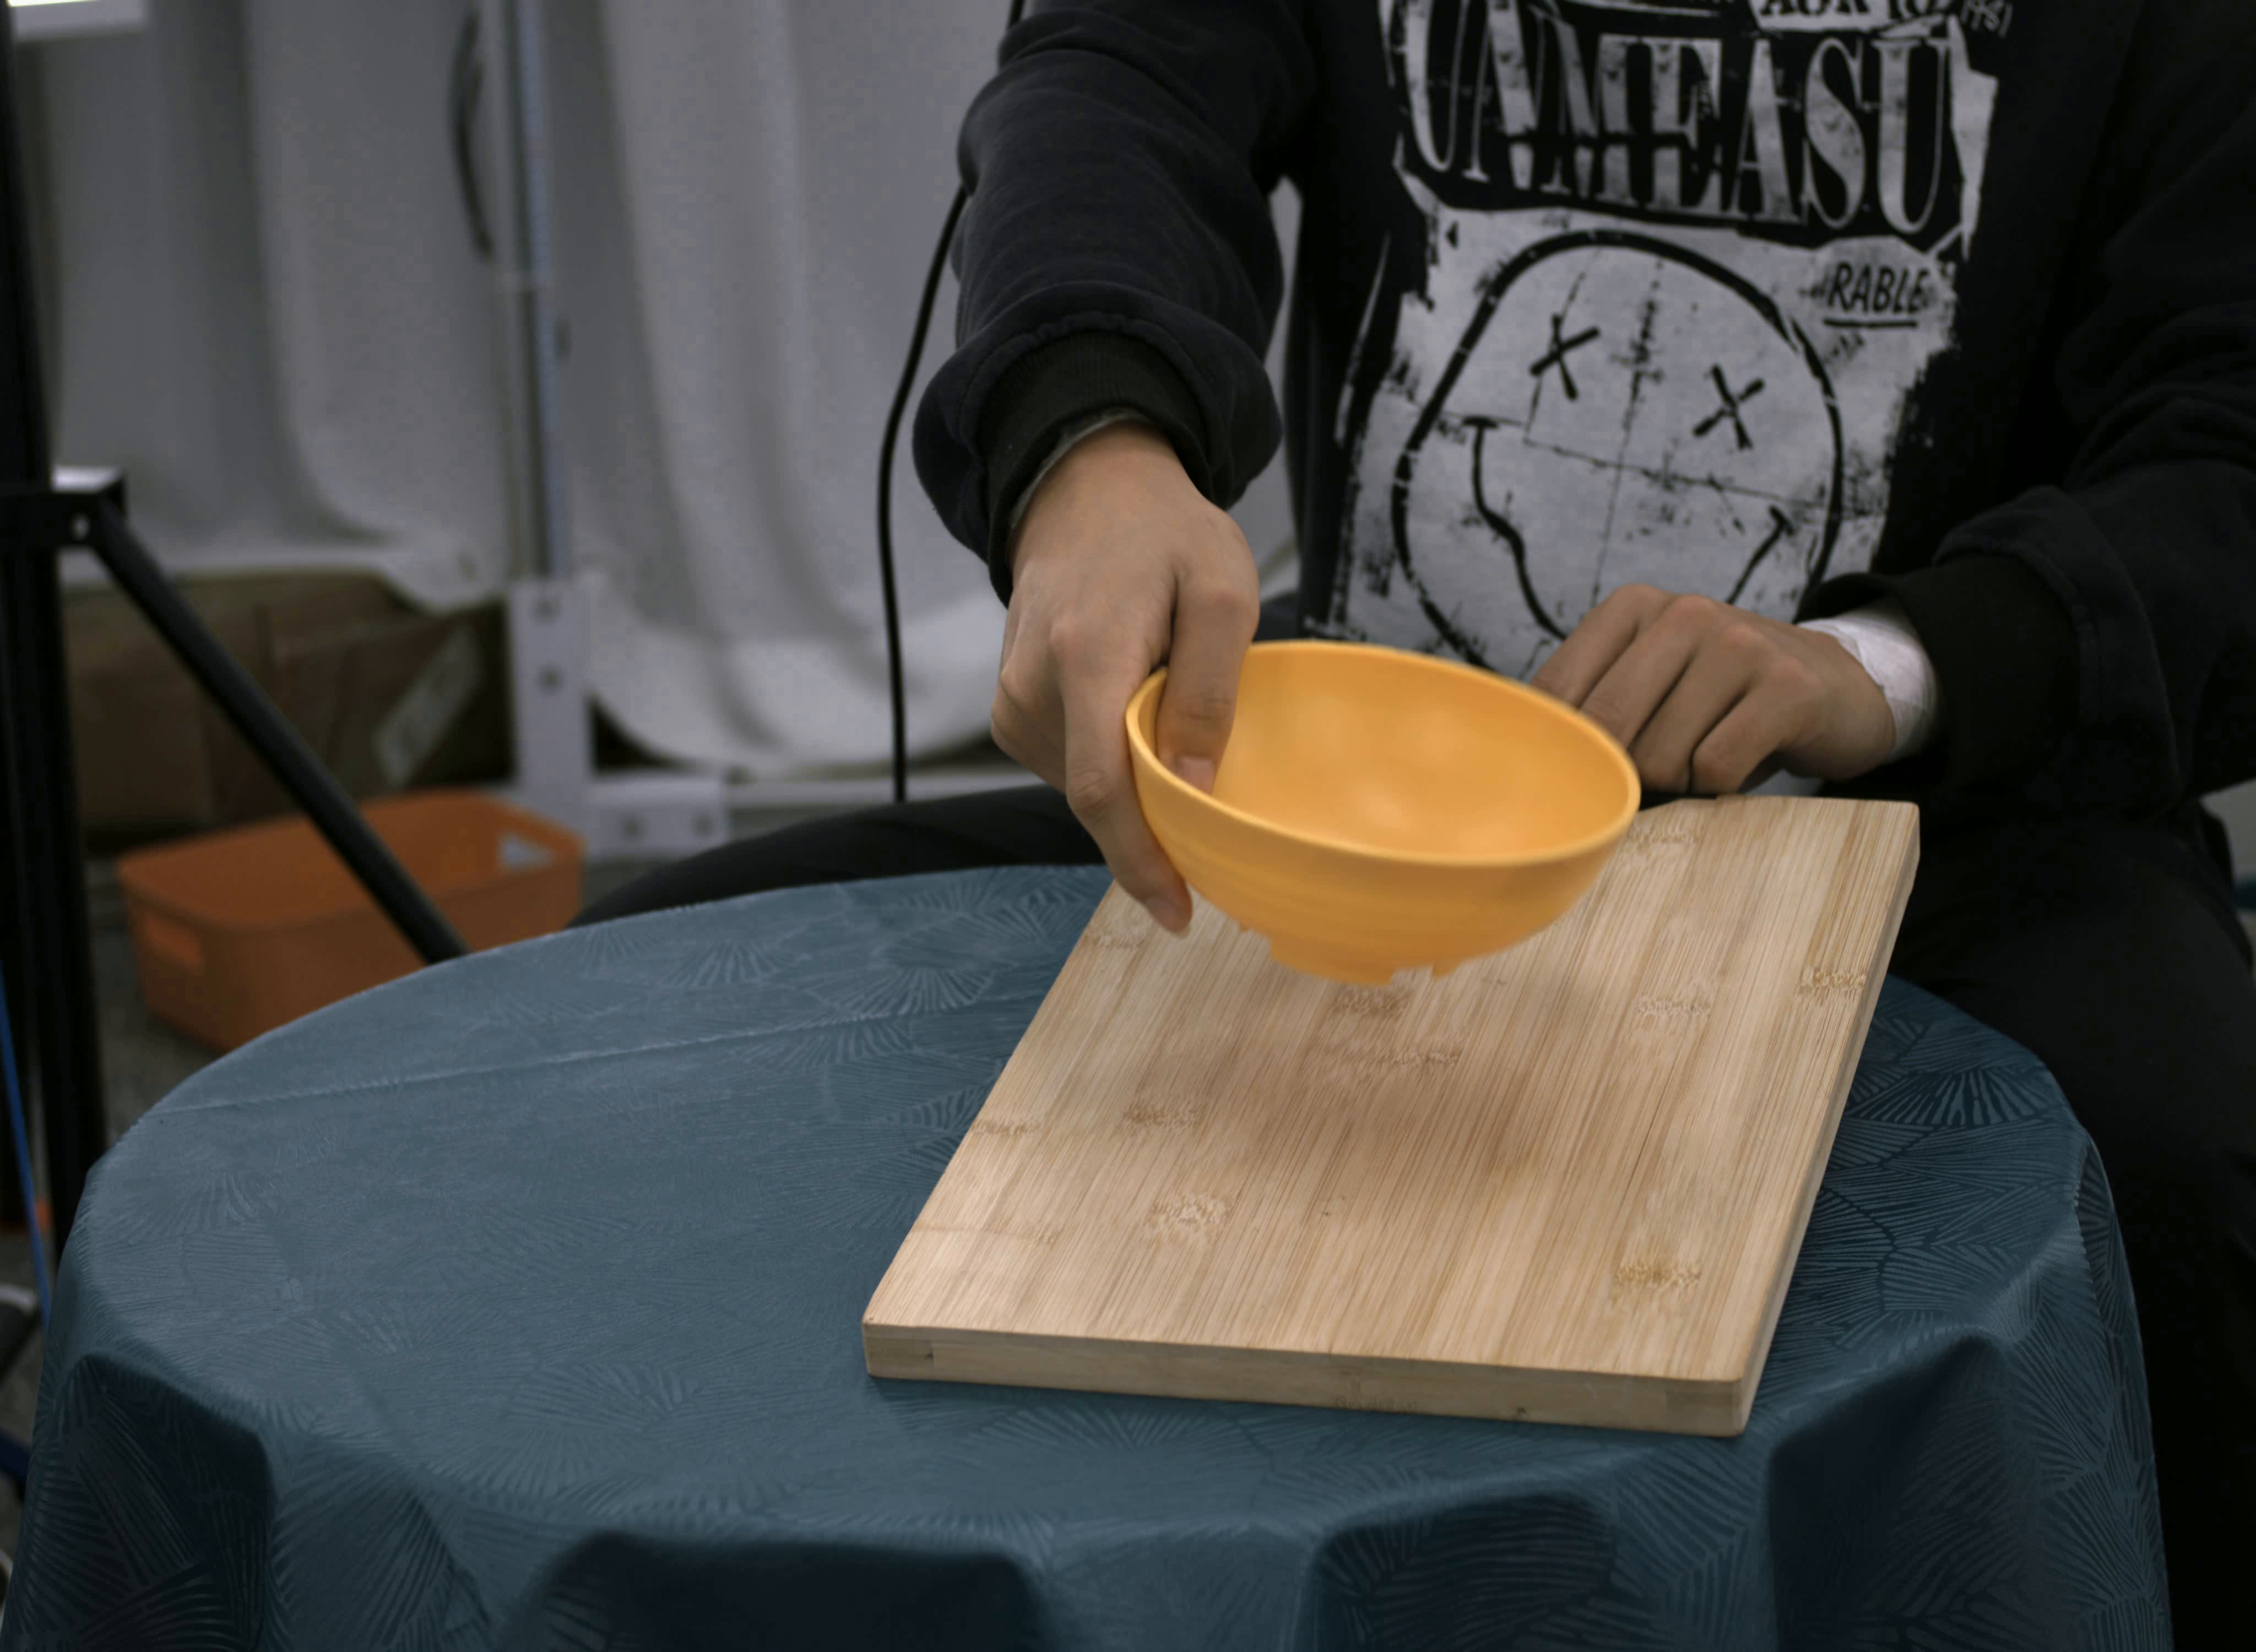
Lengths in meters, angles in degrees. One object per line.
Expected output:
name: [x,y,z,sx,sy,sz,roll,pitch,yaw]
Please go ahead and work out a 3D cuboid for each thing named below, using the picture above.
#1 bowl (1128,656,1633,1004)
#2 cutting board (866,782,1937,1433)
bowl: [0.064,0.009,1.481,0.144,0.060,0.146,10,22,-5]
cutting board: [0.090,0.069,1.536,0.253,0.023,0.347,1,27,16]
